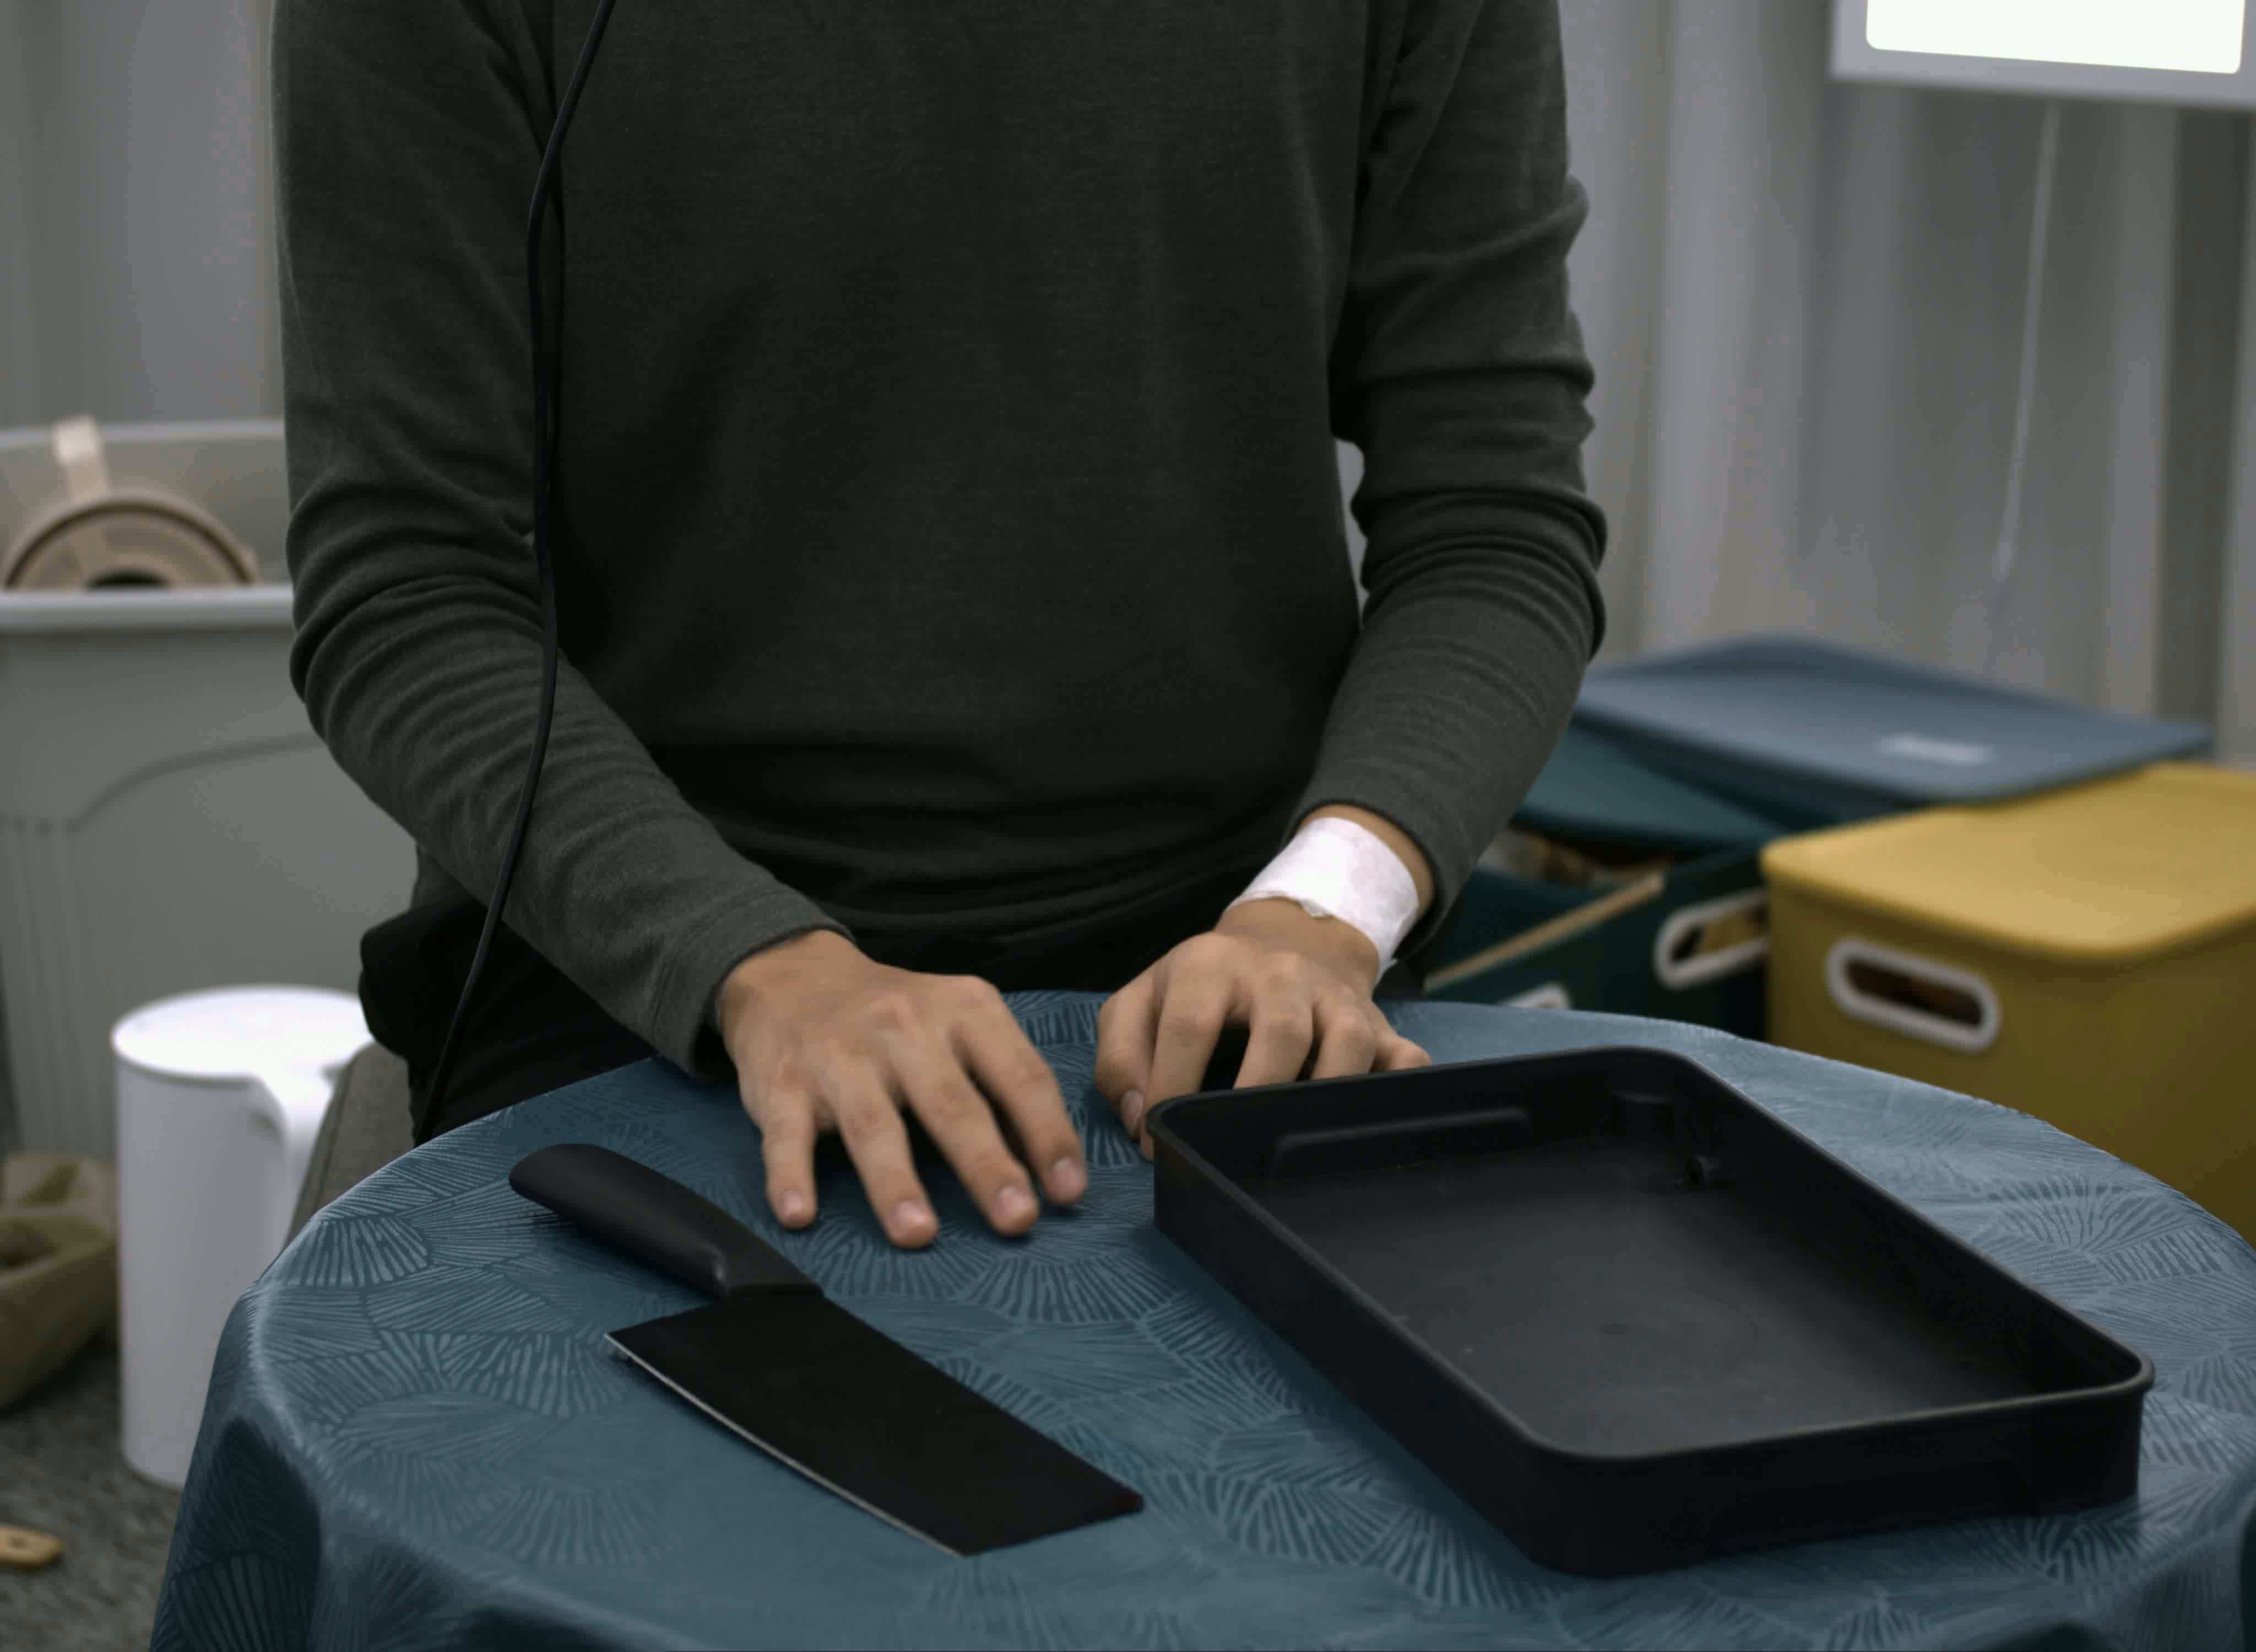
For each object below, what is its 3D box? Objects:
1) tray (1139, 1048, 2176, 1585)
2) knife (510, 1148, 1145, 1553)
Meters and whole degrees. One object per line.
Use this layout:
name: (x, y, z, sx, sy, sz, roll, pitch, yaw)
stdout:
tray: (0.140, 0.132, 1.494, 0.185, 0.037, 0.314, -6, 16, -22)
knife: (-0.101, 0.145, 1.479, 0.081, 0.021, 0.298, -9, 20, -29)
